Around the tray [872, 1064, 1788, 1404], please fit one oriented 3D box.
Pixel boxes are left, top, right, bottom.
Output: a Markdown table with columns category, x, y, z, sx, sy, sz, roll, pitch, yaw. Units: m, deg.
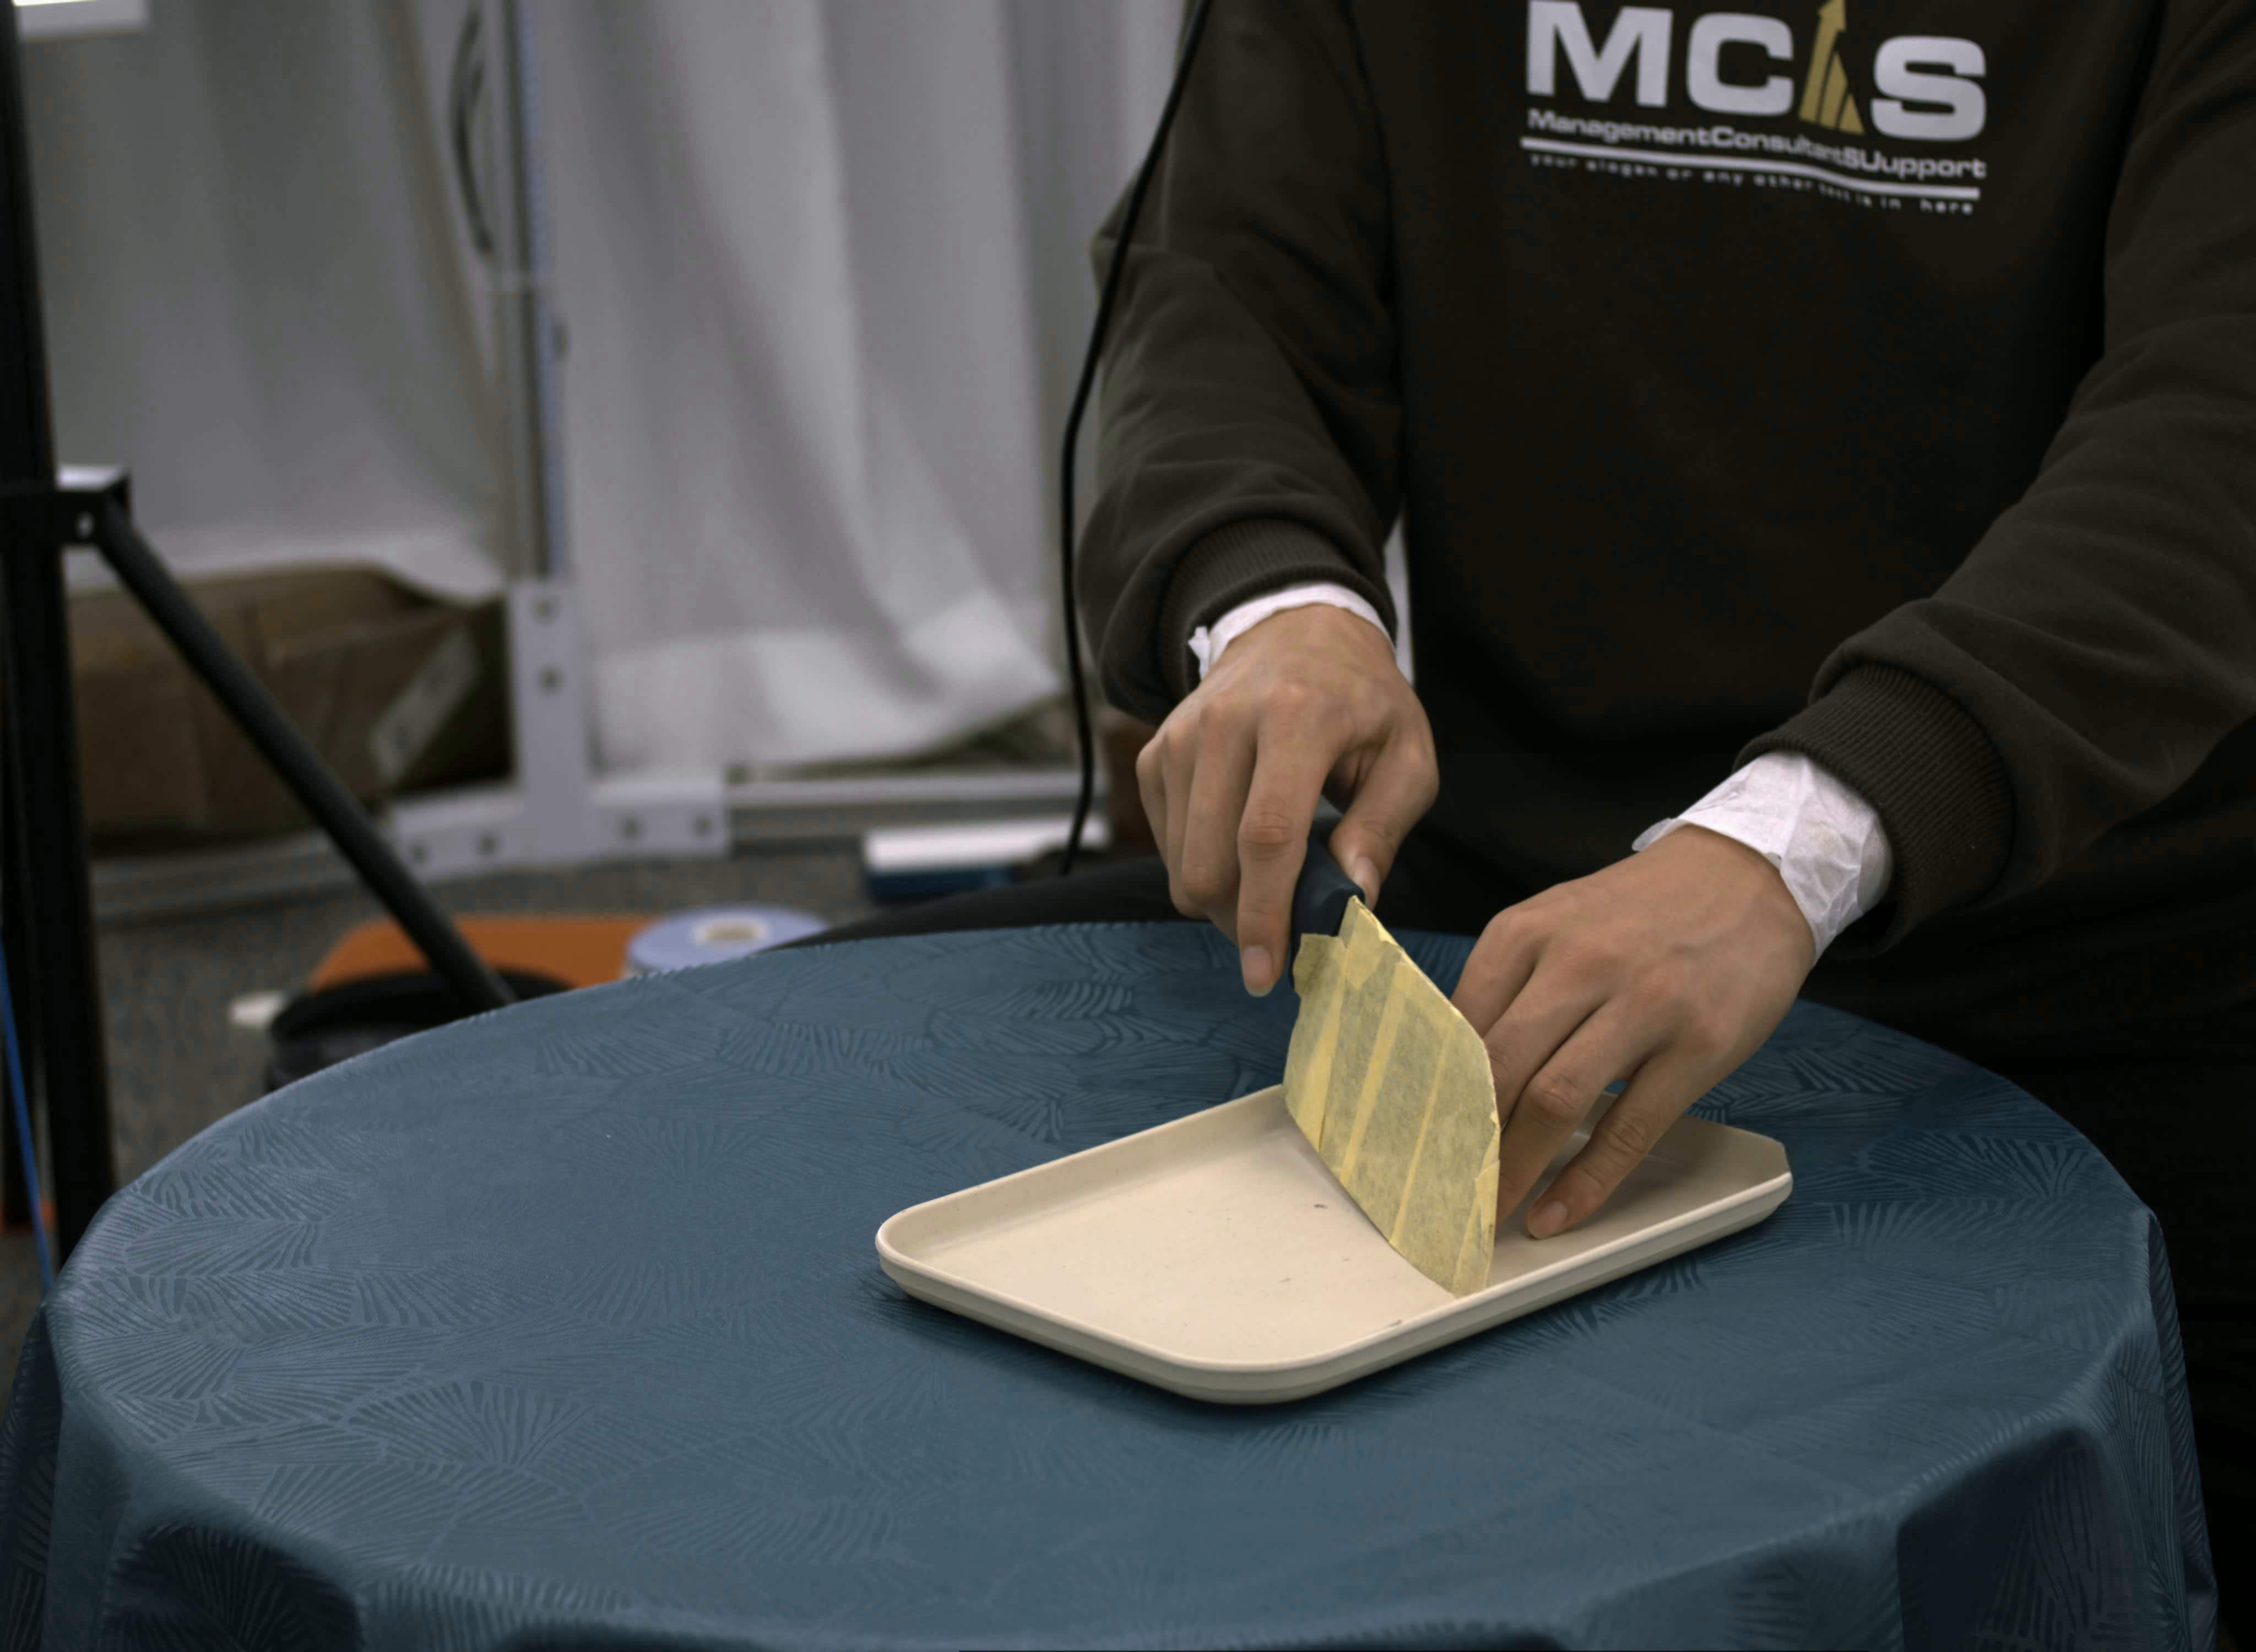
| category | x | y | z | sx | sy | sz | roll | pitch | yaw |
| --- | --- | --- | --- | --- | --- | --- | --- | --- | --- |
| tray | 0.059 | 0.113 | 1.504 | 0.234 | 0.017 | 0.175 | -16 | 20 | -40 |

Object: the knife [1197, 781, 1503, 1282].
| category | x | y | z | sx | sy | sz | roll | pitch | yaw |
| --- | --- | --- | --- | --- | --- | --- | --- | --- | --- |
| knife | 0.063 | 0.056 | 1.566 | 0.027 | 0.081 | 0.294 | 12 | 19 | -19 |
